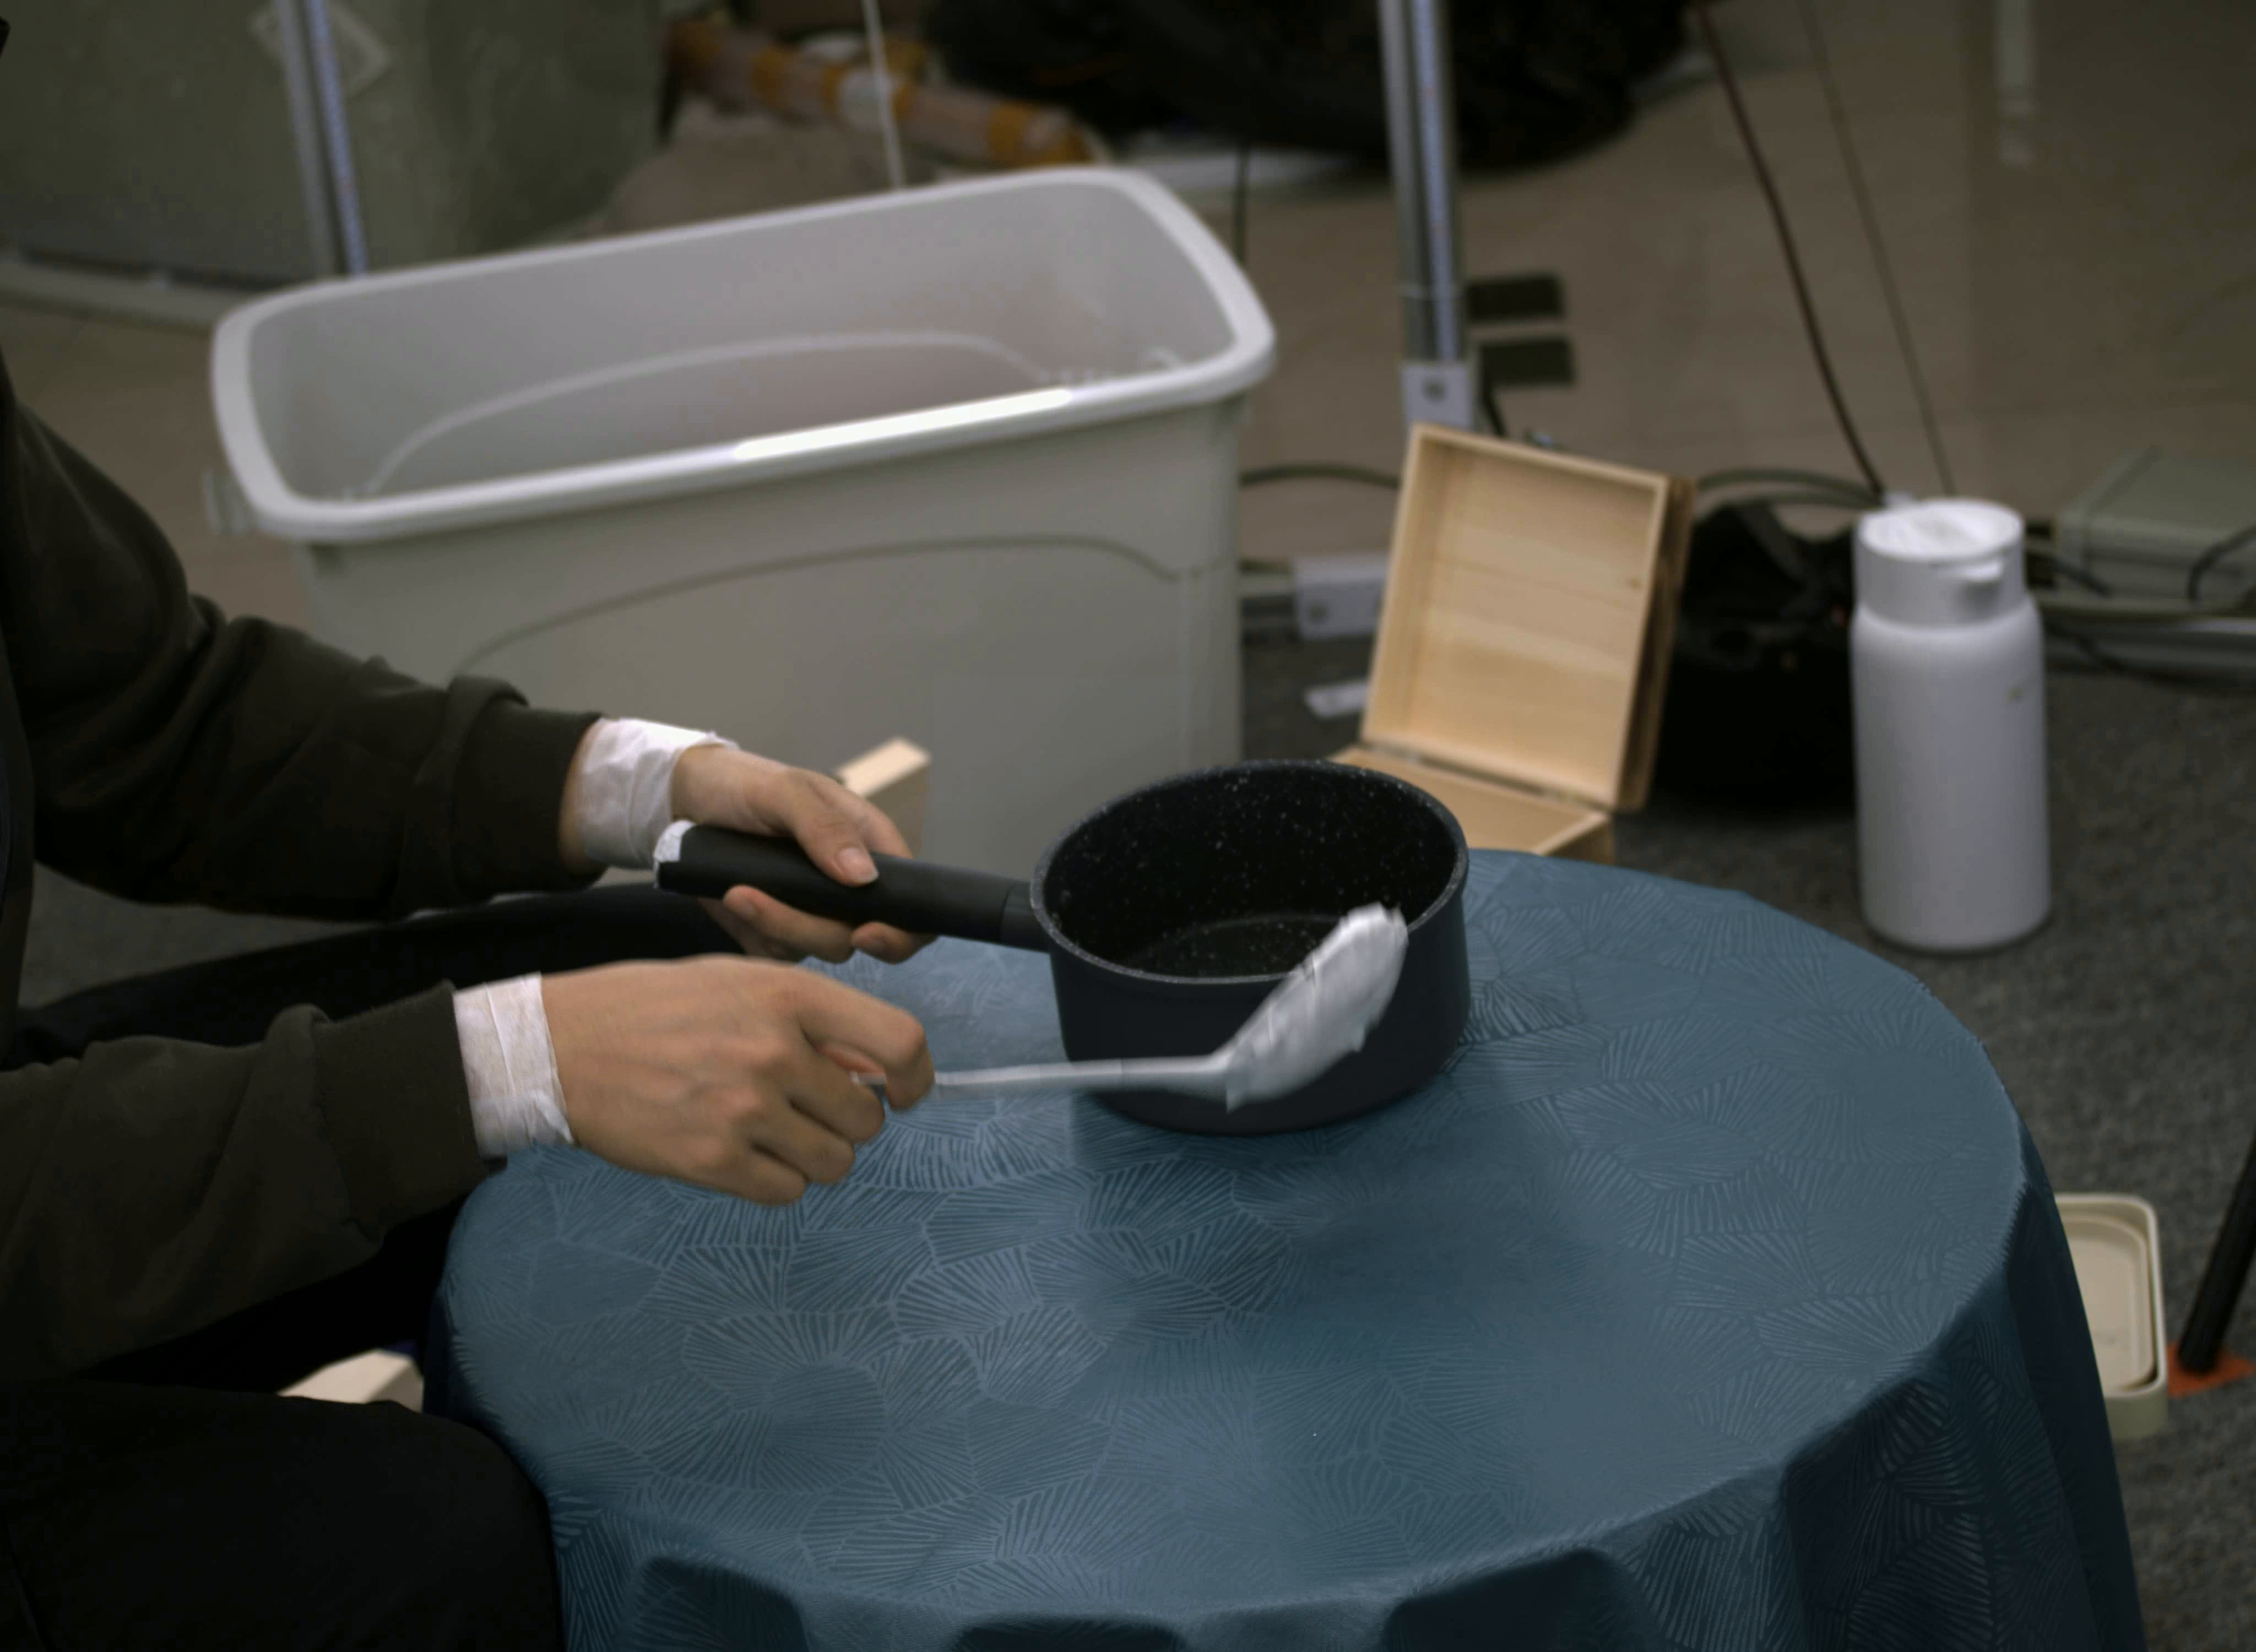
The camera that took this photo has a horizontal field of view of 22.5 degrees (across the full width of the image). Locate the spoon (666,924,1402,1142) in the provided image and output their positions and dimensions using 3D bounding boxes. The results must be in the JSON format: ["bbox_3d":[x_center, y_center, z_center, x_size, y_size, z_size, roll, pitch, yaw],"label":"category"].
[{"bbox_3d":[-0.032,0.079,2.054,0.277,0.102,0.058,-3,58,-10],"label":"spoon"}]

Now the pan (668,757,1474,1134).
[{"bbox_3d":[-0.024,0.042,2.250,0.328,0.088,0.169,3,30,16],"label":"pan"}]
